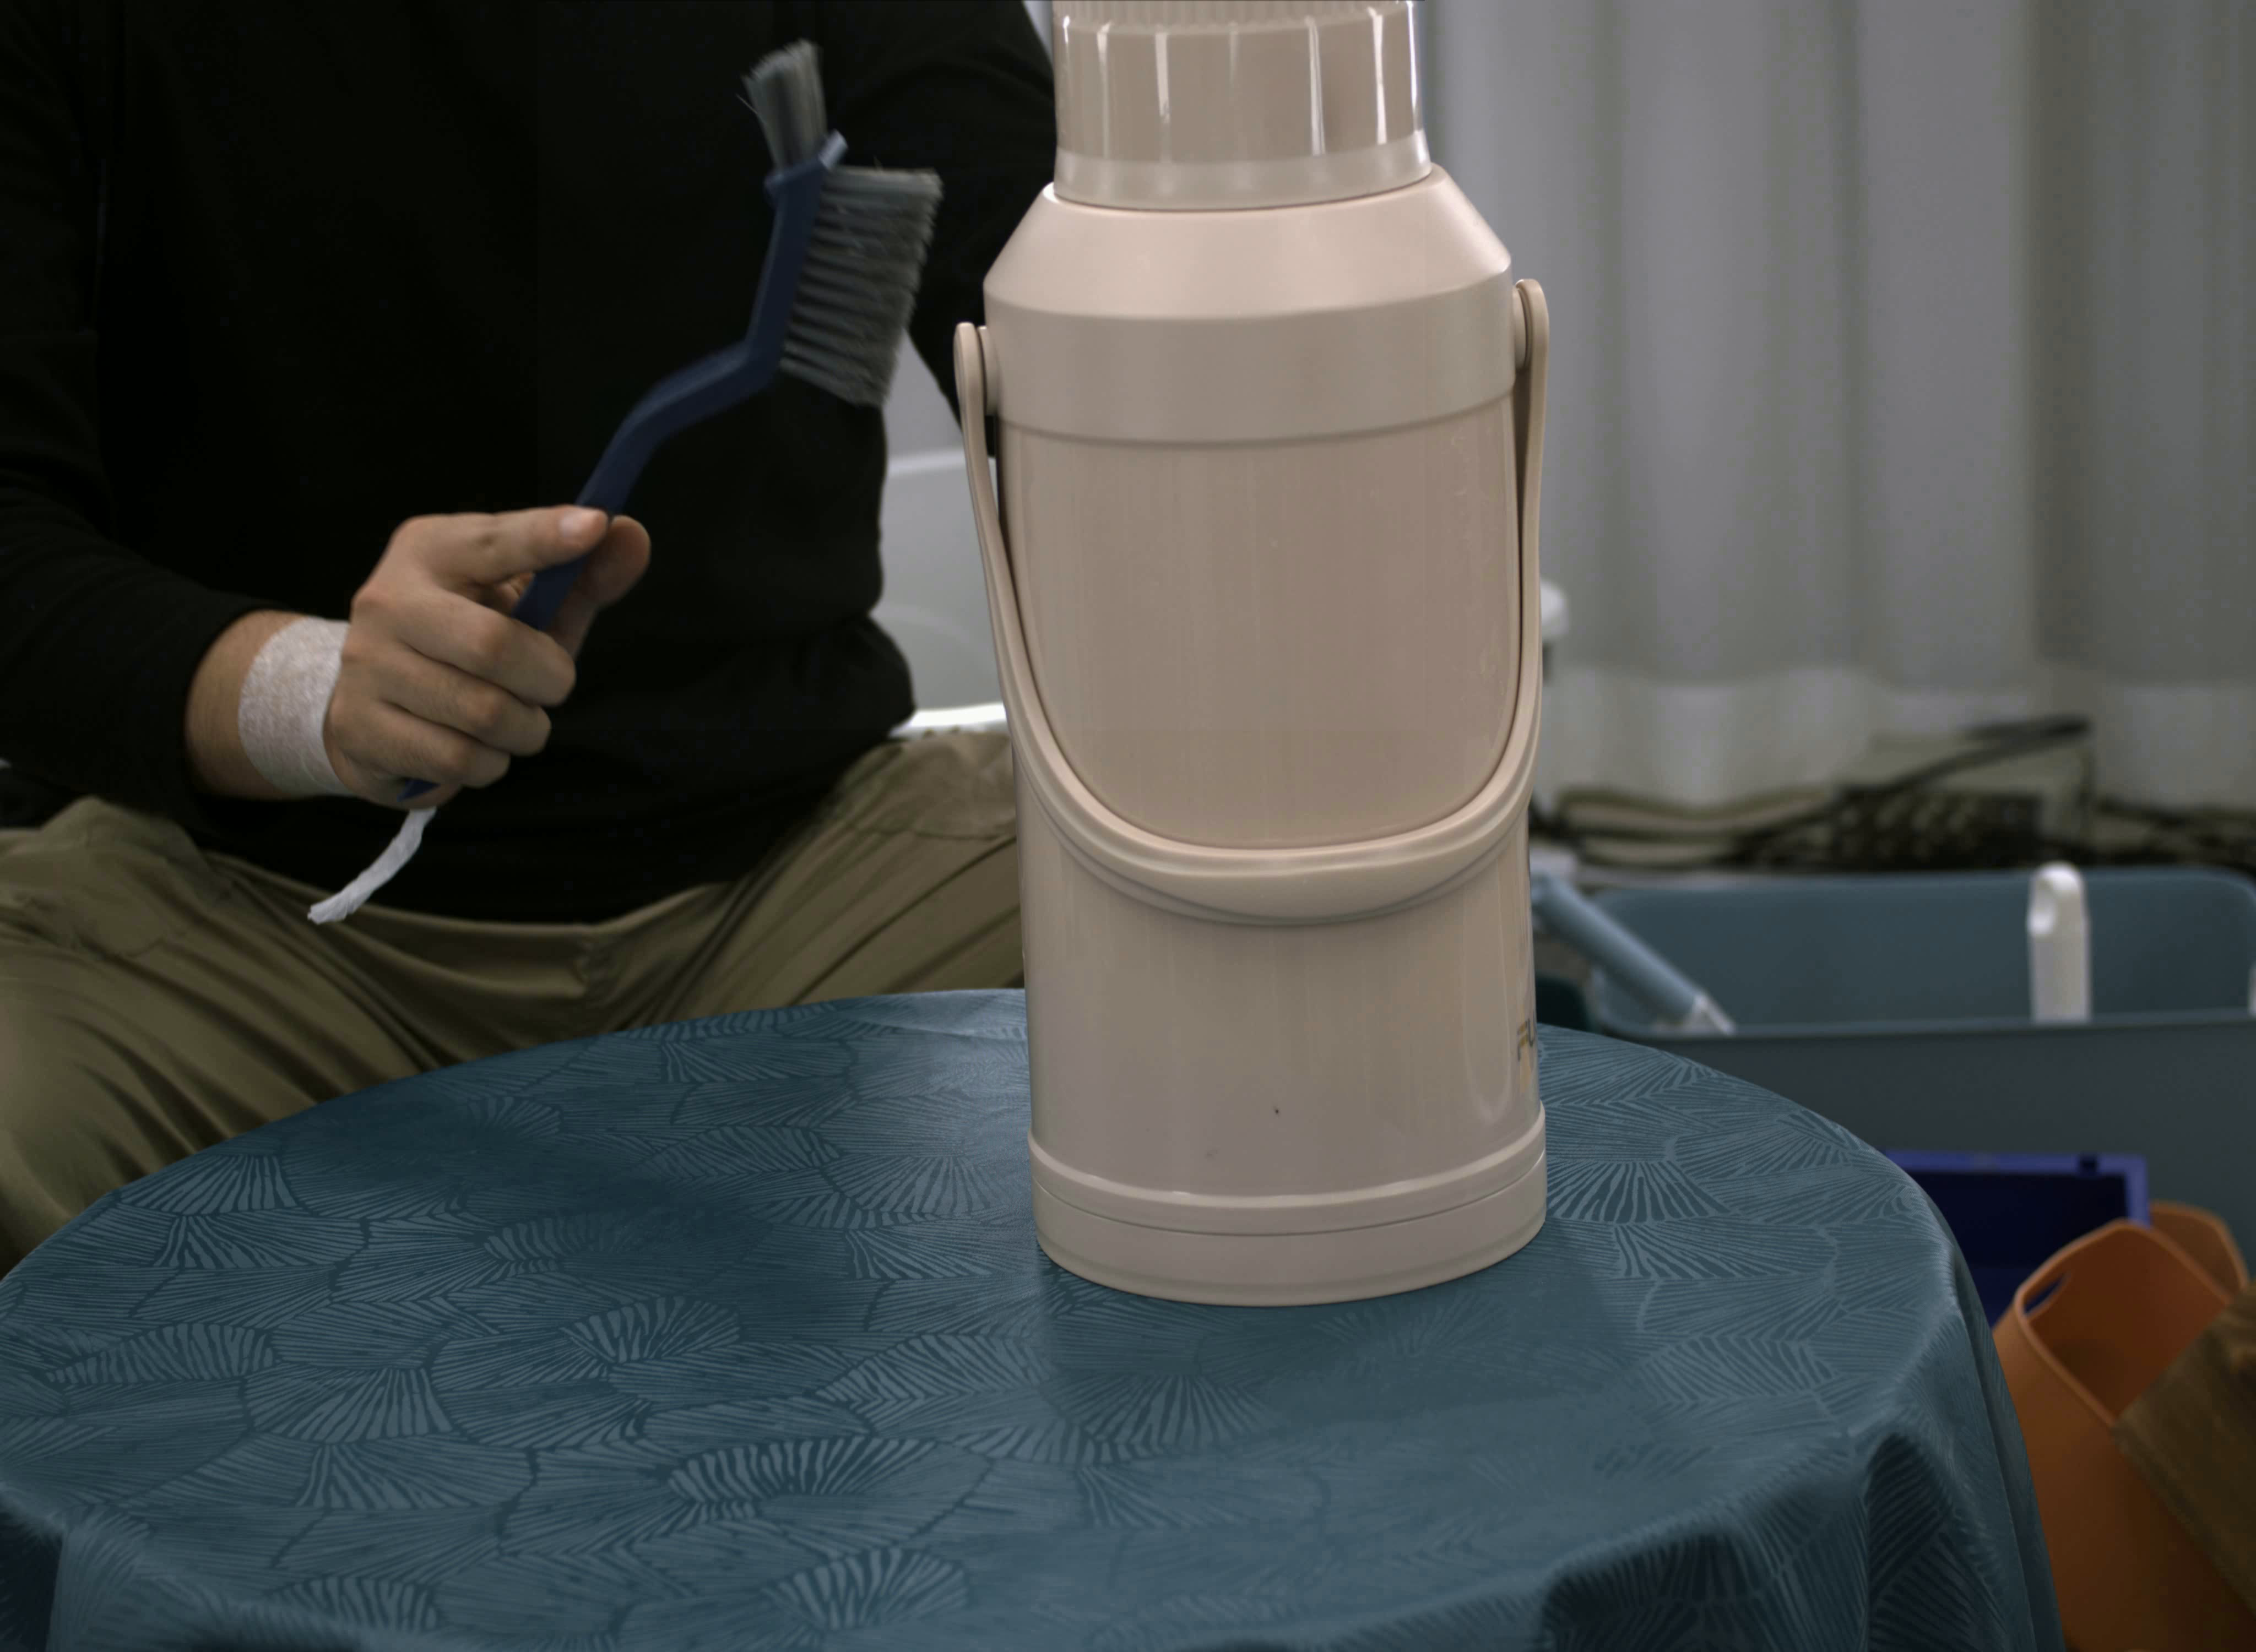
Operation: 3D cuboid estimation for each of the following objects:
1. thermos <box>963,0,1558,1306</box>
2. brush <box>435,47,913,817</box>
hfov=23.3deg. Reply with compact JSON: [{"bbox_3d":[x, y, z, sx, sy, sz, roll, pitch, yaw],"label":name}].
[{"bbox_3d":[0.042,-0.074,1.650,0.174,0.405,0.208,-6,14,-8],"label":"thermos"},{"bbox_3d":[-0.157,-0.115,1.687,0.095,0.271,0.034,39,27,-9],"label":"brush"}]
